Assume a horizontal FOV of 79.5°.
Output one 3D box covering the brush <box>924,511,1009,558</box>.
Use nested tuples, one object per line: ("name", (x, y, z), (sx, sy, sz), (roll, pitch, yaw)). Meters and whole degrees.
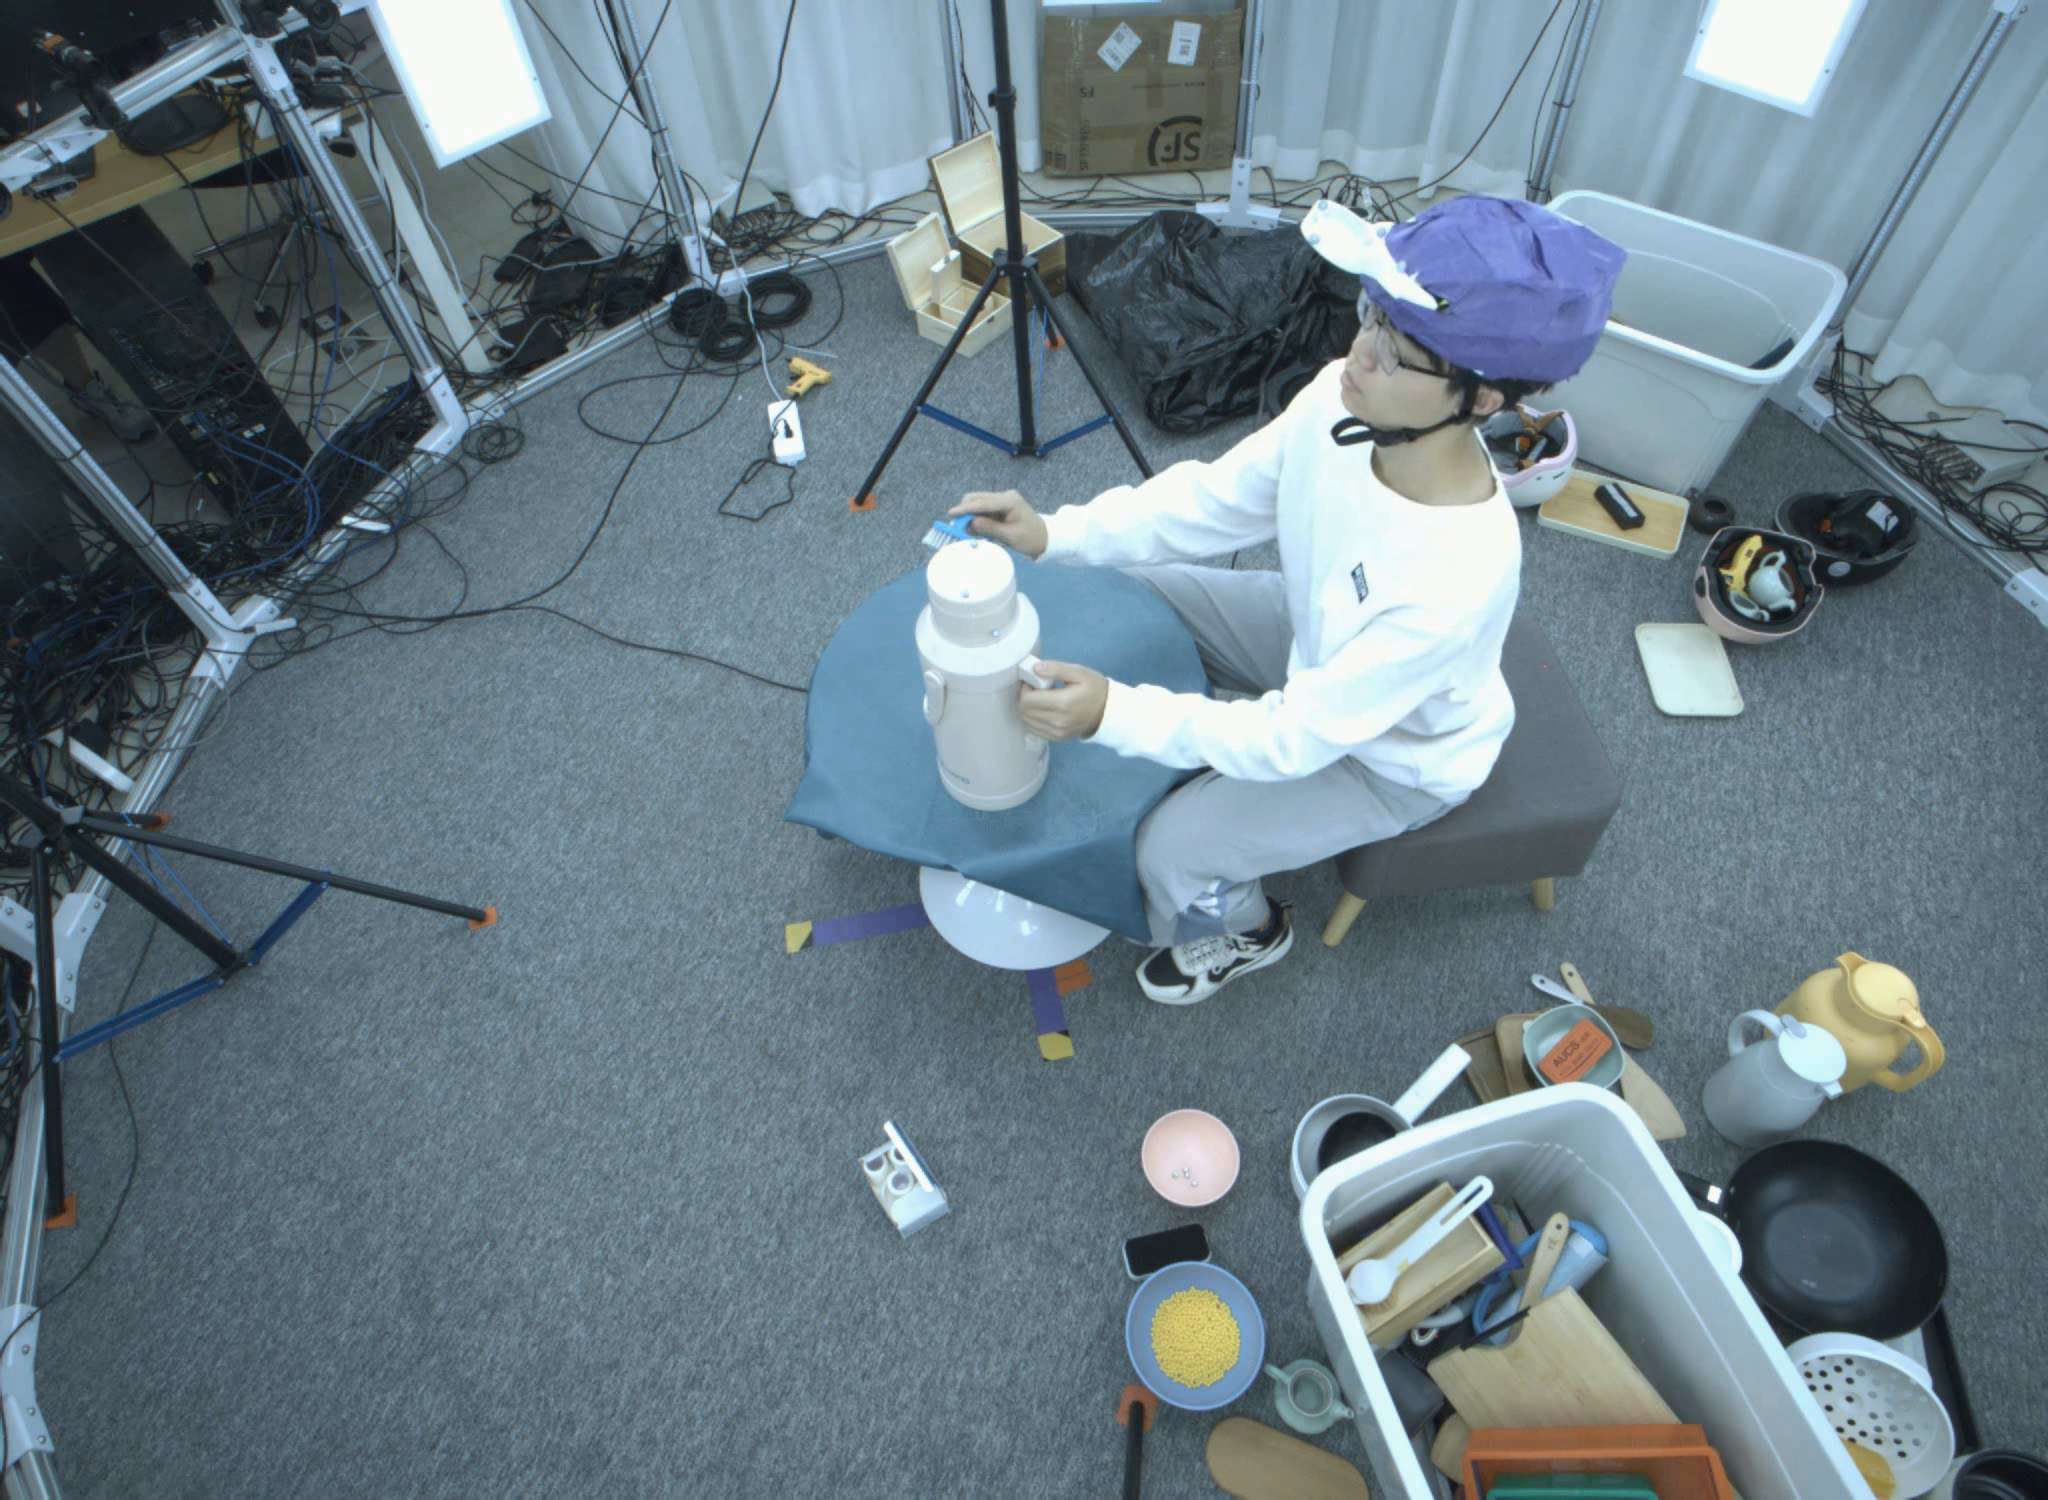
("brush", (-0.073, -0.284, 1.651), (0.083, 0.144, 0.064), (22, 93, 28))

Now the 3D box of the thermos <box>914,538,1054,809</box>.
("thermos", (-0.045, -0.088, 1.603), (0.203, 0.410, 0.176), (32, 61, 23))
